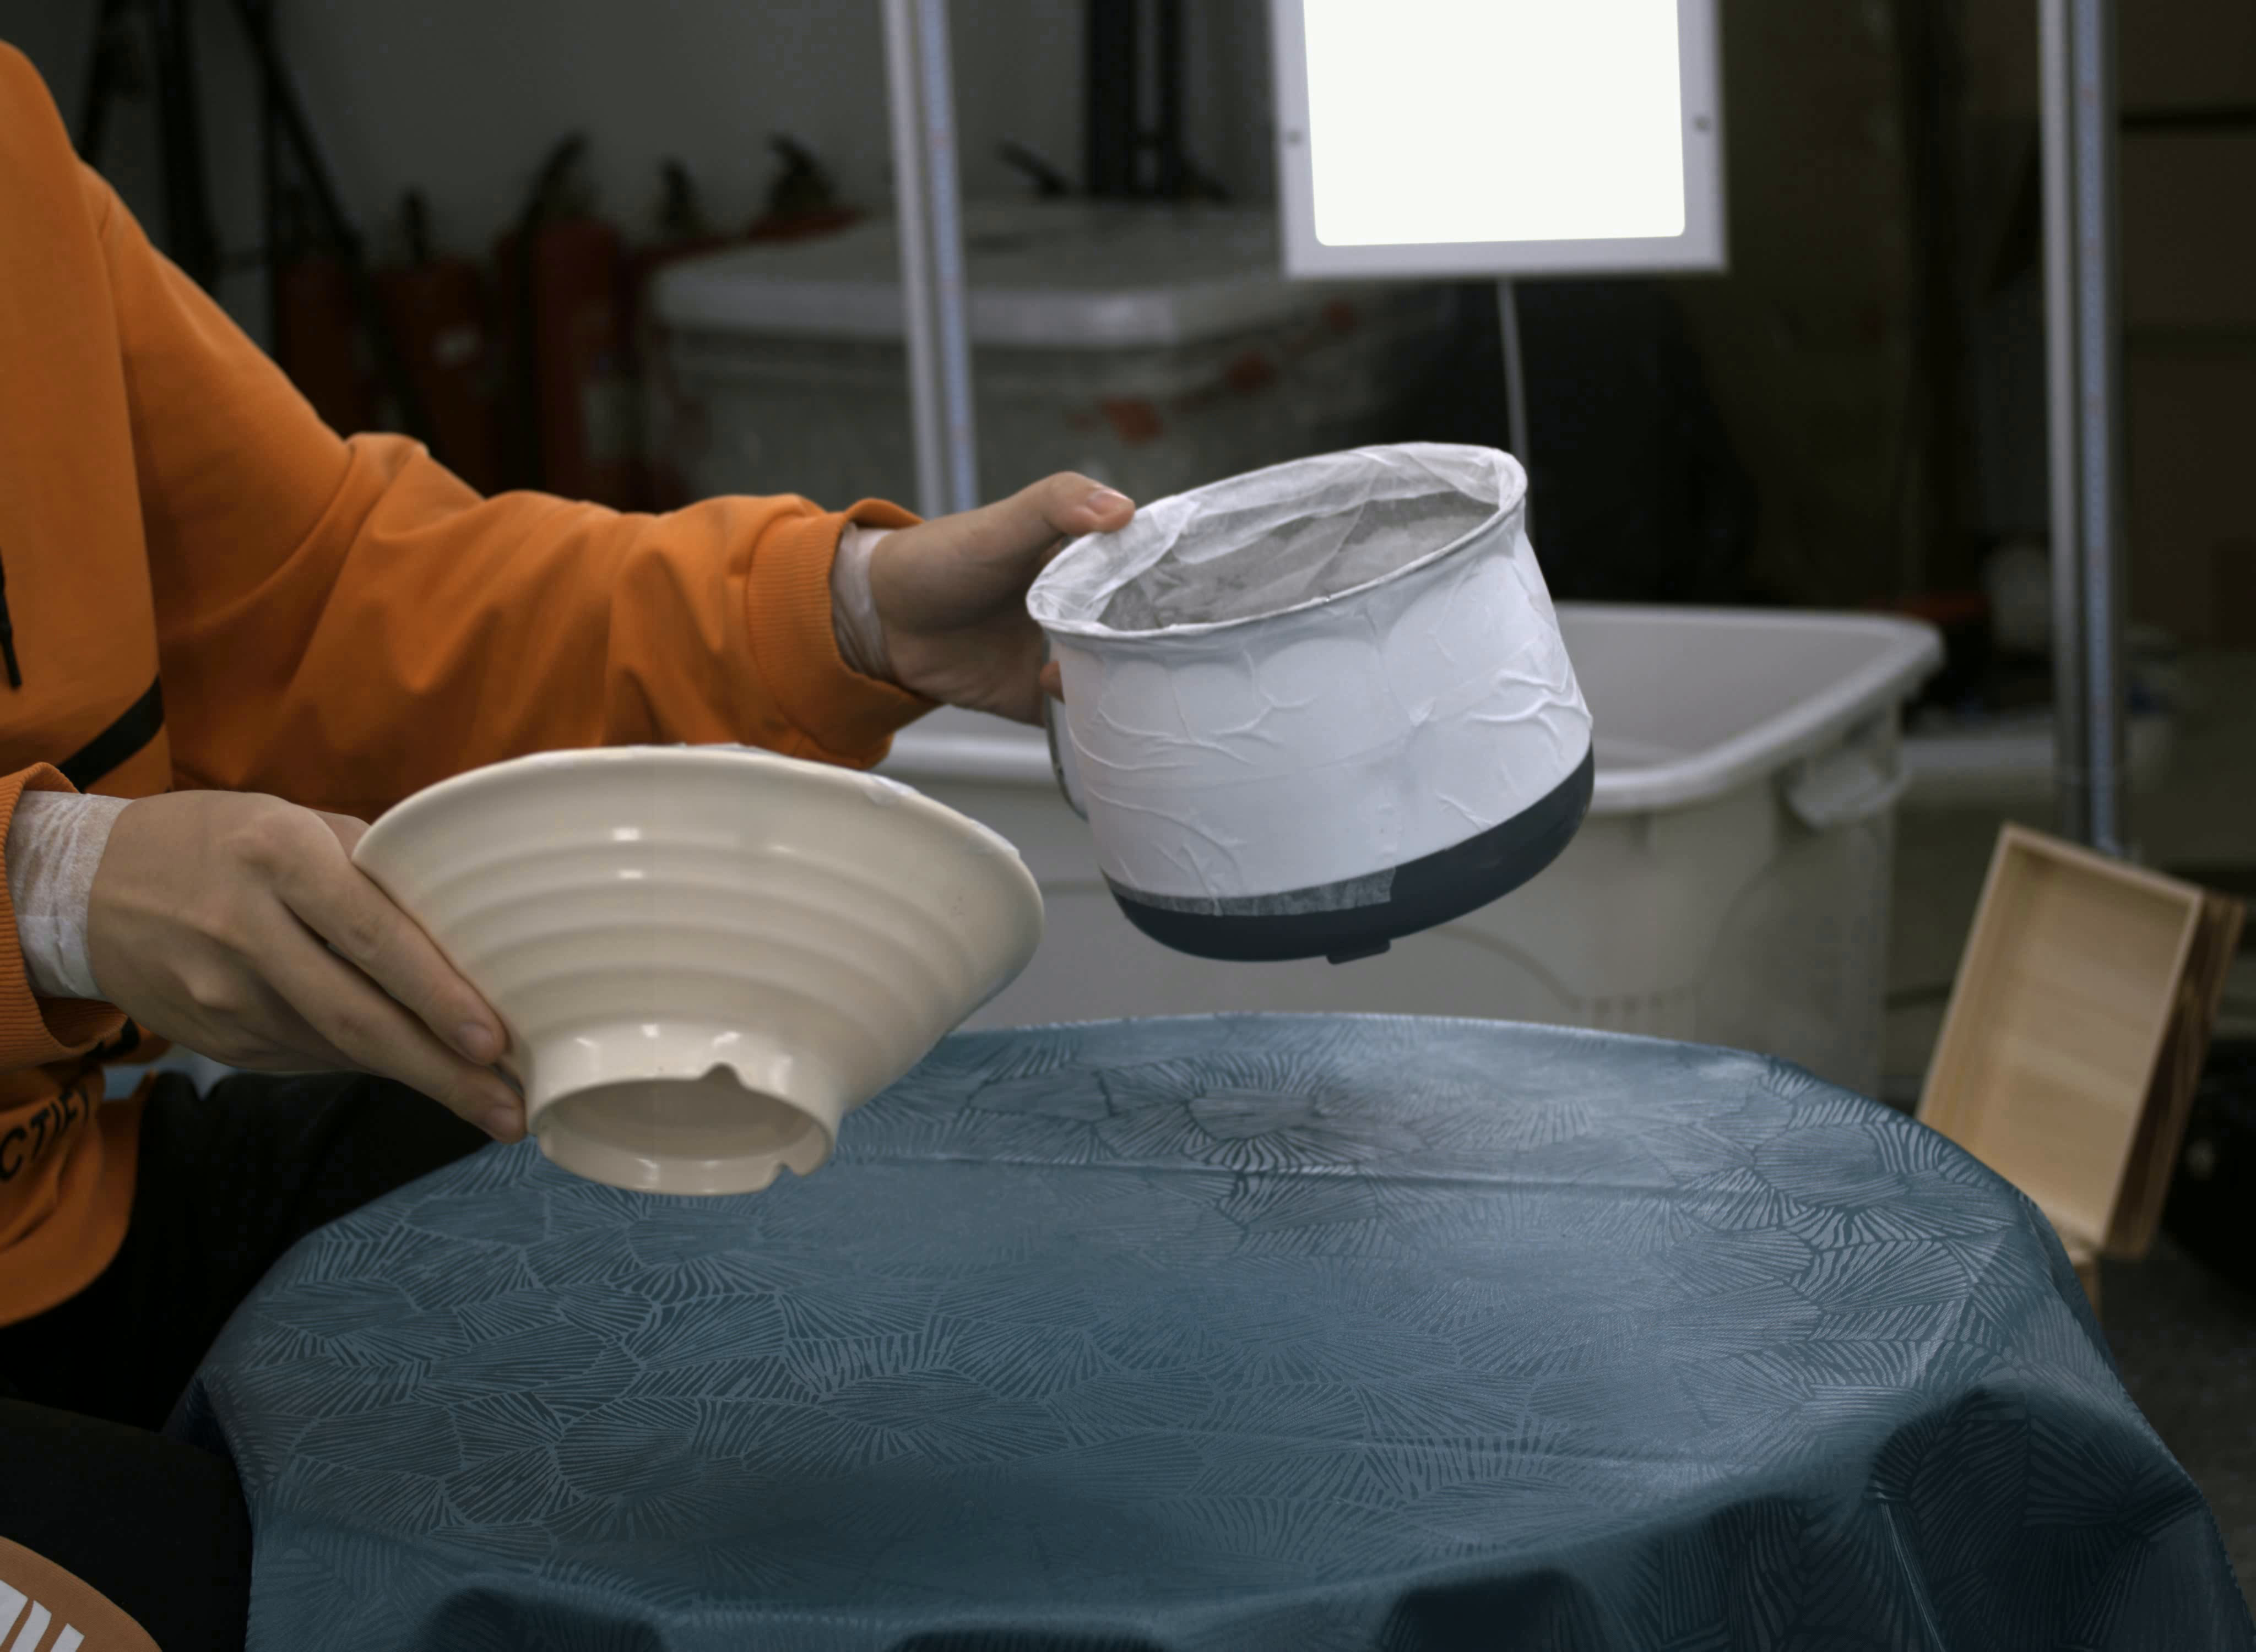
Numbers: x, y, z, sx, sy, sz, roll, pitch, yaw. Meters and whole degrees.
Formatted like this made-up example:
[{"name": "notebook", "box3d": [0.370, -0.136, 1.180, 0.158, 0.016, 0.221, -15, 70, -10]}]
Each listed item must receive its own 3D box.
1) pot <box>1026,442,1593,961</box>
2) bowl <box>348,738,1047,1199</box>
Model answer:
[{"name": "pot", "box3d": [0.048, -0.044, 1.913, 0.174, 0.137, 0.239, -28, 21, -34]}, {"name": "bowl", "box3d": [-0.124, 0.055, 1.586, 0.203, 0.078, 0.205, 1, -27, -1]}]
